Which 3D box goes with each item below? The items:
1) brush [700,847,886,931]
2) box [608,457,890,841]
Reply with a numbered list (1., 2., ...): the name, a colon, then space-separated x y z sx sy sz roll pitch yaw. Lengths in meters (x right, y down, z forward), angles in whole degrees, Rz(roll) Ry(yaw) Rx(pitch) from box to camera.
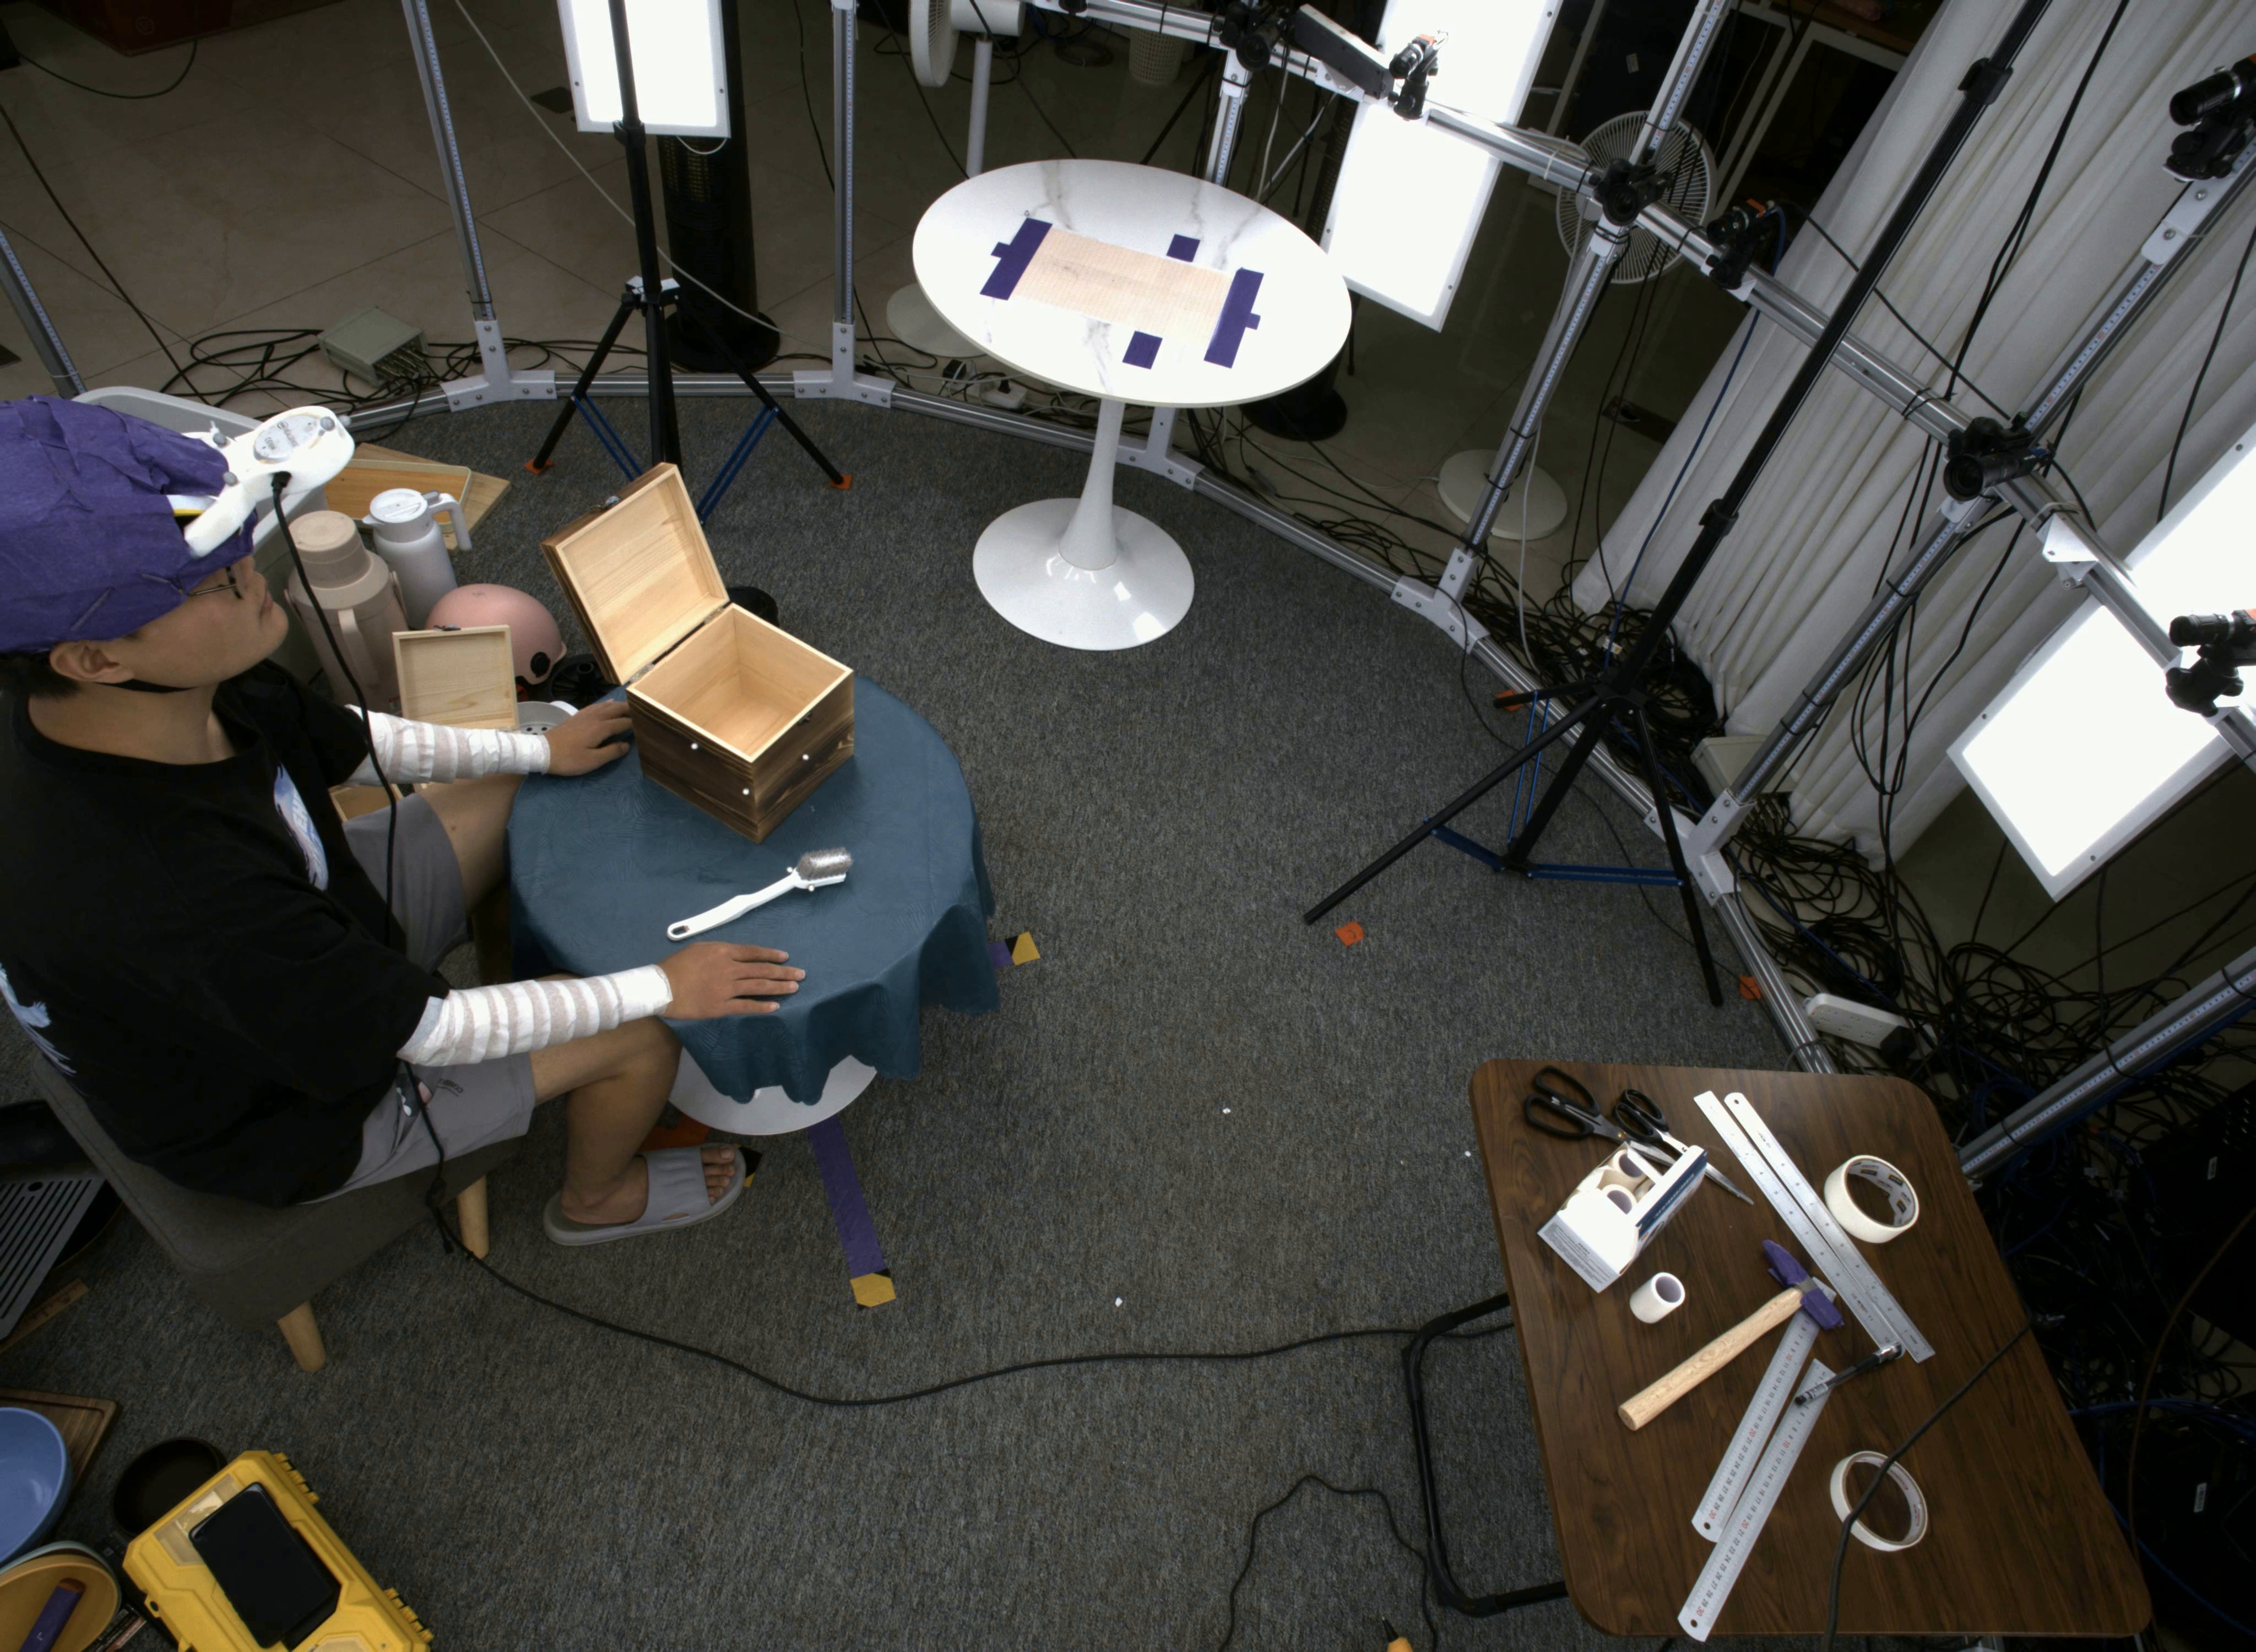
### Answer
1. brush: -0.426 0.076 1.647 0.245 0.051 0.033 -18 61 -25
2. box: -0.489 -0.229 1.653 0.316 0.383 0.208 30 54 12
